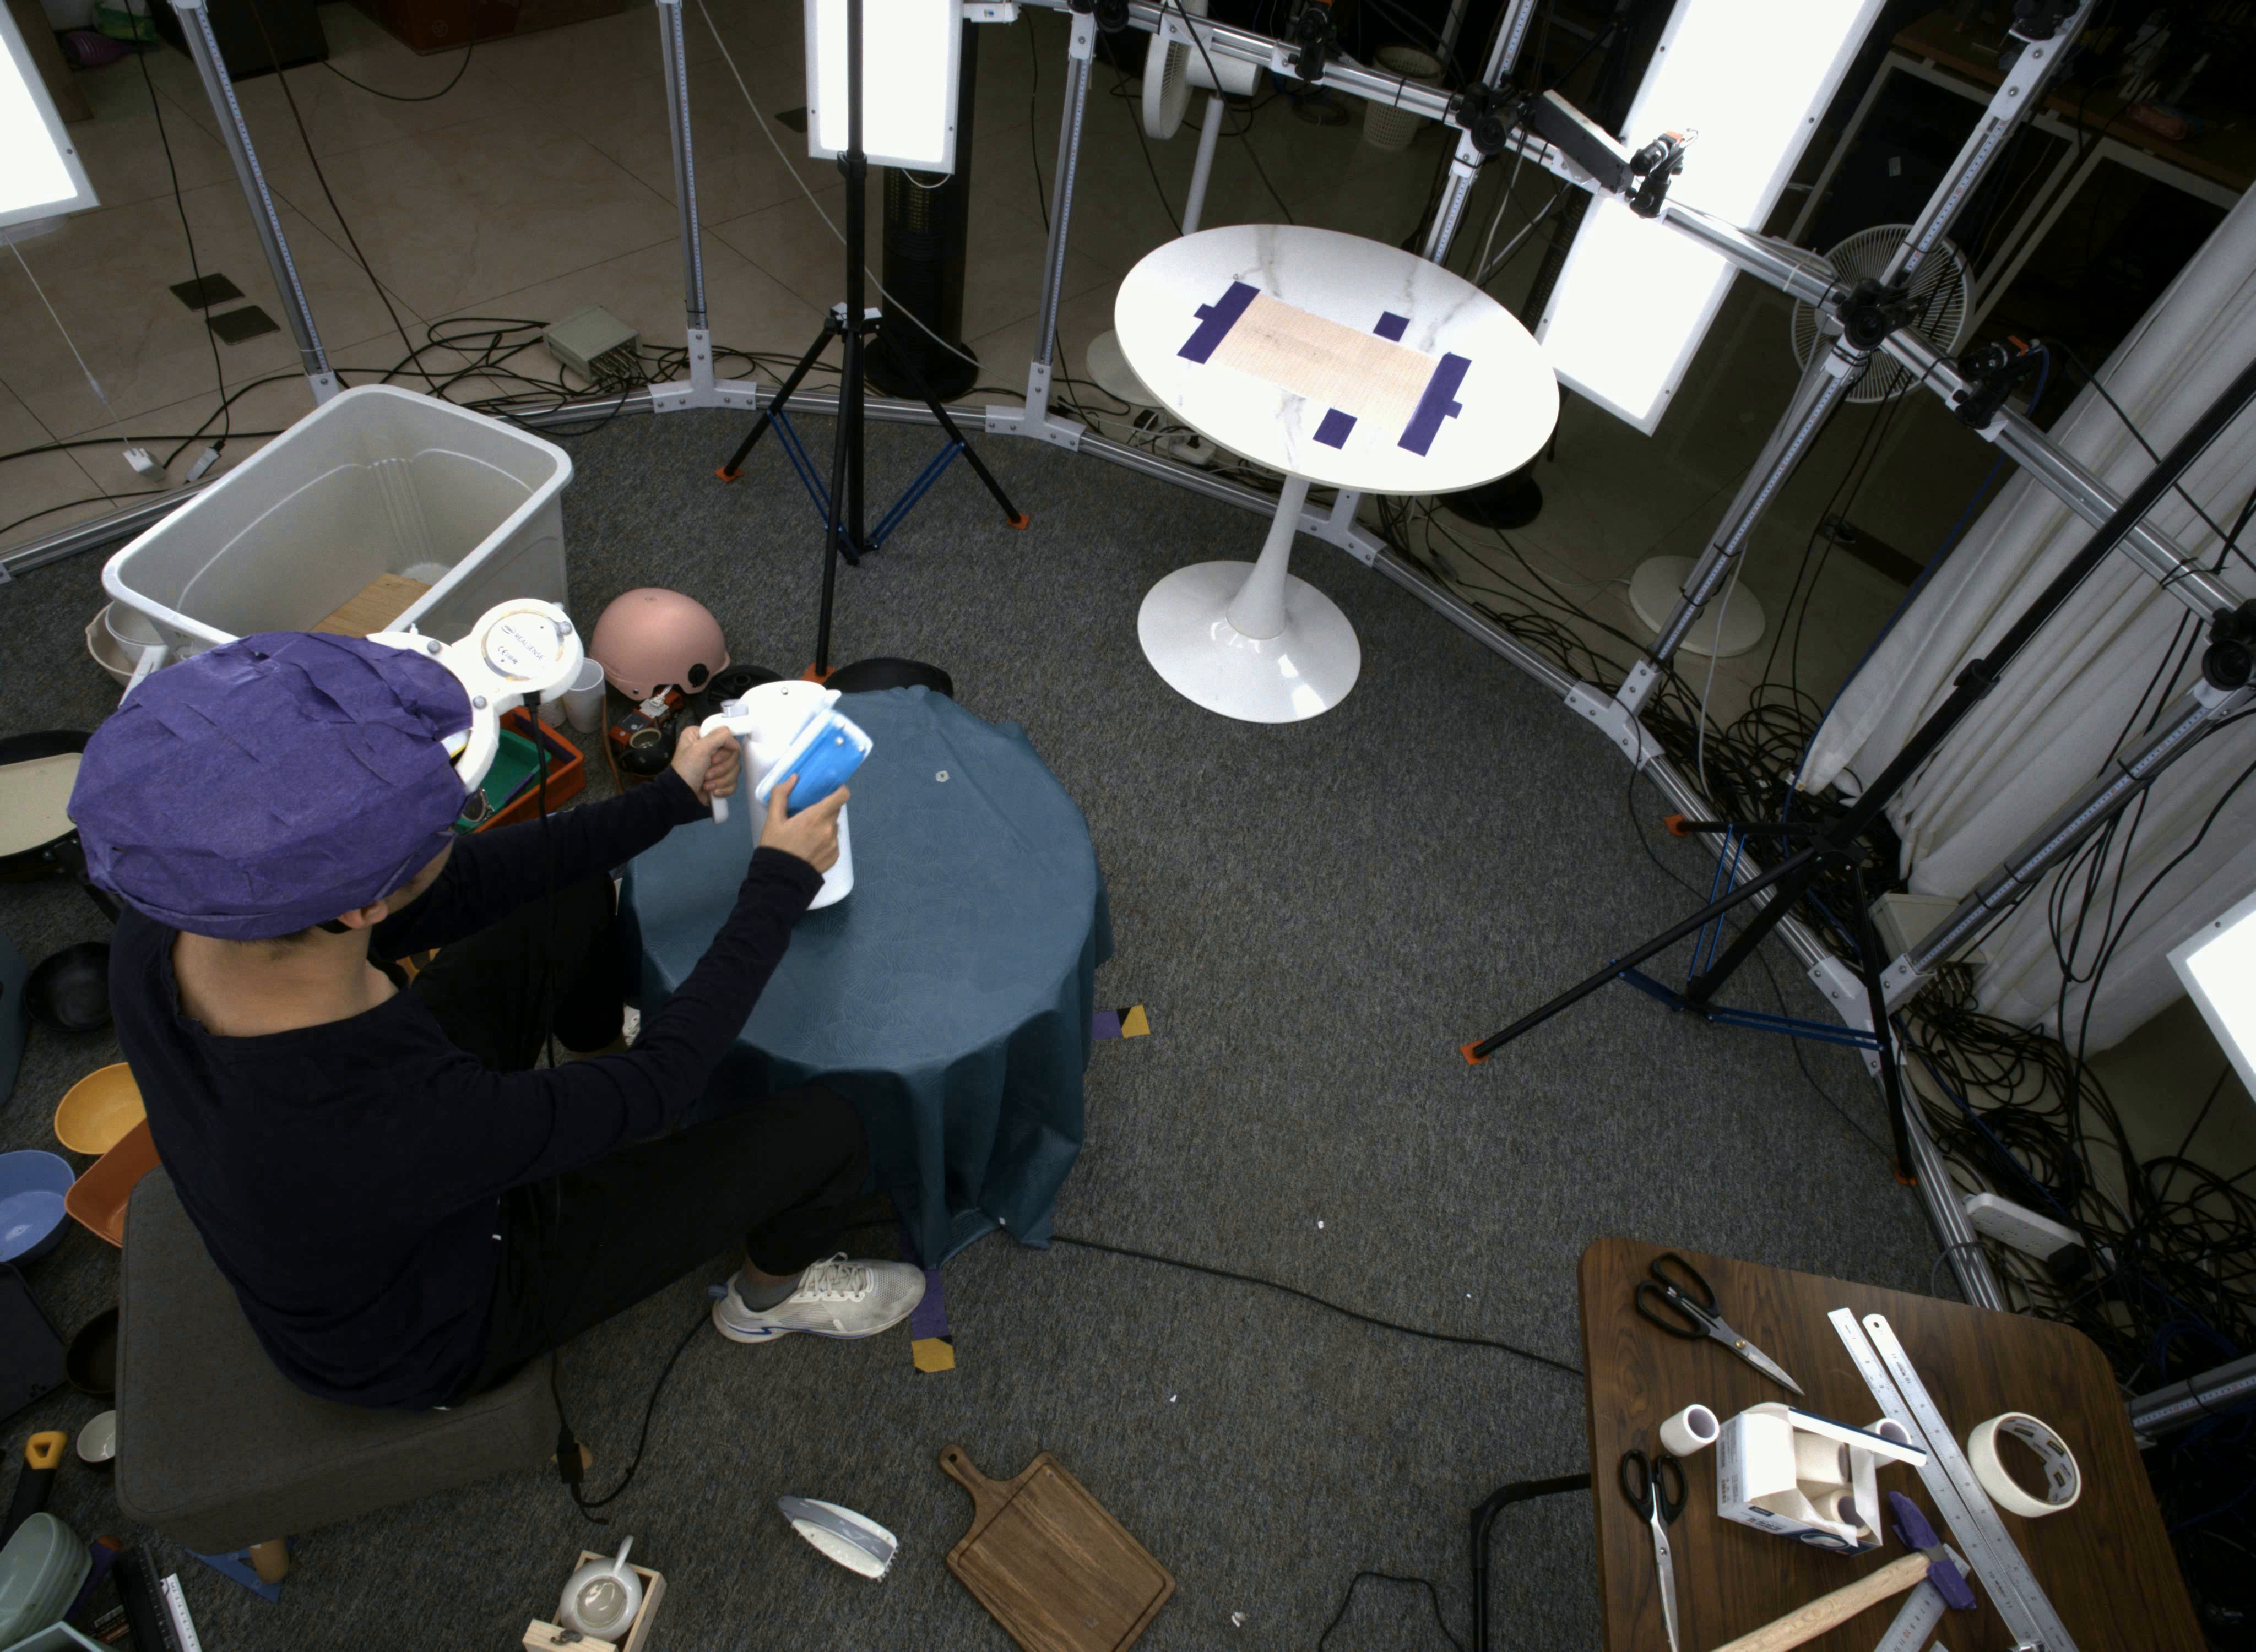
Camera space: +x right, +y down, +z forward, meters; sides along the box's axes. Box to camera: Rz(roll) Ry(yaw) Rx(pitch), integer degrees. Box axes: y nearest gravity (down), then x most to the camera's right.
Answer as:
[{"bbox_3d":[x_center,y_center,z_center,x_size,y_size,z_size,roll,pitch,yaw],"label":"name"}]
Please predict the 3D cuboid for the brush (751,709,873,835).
[{"bbox_3d":[-0.361,-0.060,1.492,0.144,0.087,0.054,-49,34,-7],"label":"brush"}]

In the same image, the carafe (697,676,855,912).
[{"bbox_3d":[-0.420,-0.035,1.569,0.174,0.277,0.119,-16,31,-27],"label":"carafe"}]
